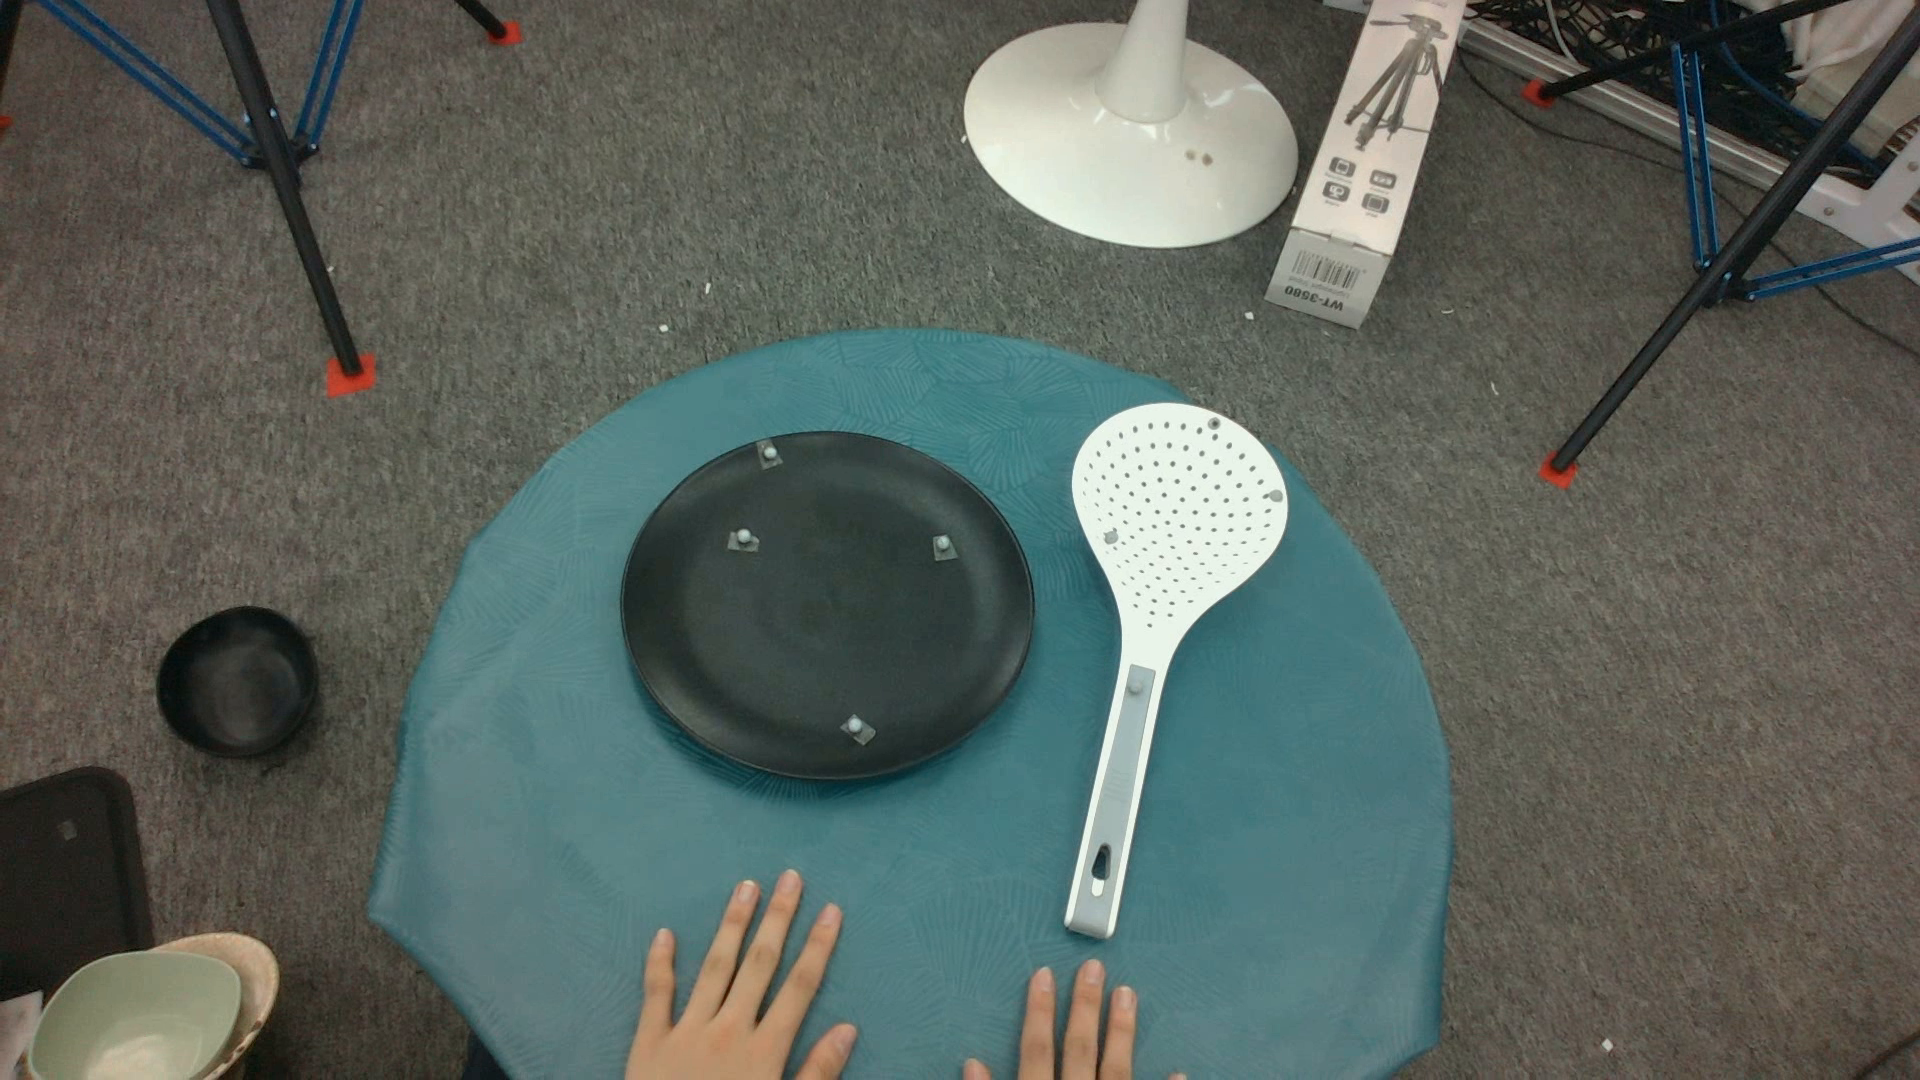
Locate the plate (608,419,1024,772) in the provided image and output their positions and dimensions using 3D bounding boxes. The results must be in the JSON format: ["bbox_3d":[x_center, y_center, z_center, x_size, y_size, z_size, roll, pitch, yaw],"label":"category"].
[{"bbox_3d":[-0.083,0.028,0.817,0.244,0.023,0.245,4,55,-6],"label":"plate"}]

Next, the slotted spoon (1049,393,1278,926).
[{"bbox_3d":[0.104,0.057,0.814,0.136,0.045,0.351,15,55,4],"label":"slotted spoon"}]
